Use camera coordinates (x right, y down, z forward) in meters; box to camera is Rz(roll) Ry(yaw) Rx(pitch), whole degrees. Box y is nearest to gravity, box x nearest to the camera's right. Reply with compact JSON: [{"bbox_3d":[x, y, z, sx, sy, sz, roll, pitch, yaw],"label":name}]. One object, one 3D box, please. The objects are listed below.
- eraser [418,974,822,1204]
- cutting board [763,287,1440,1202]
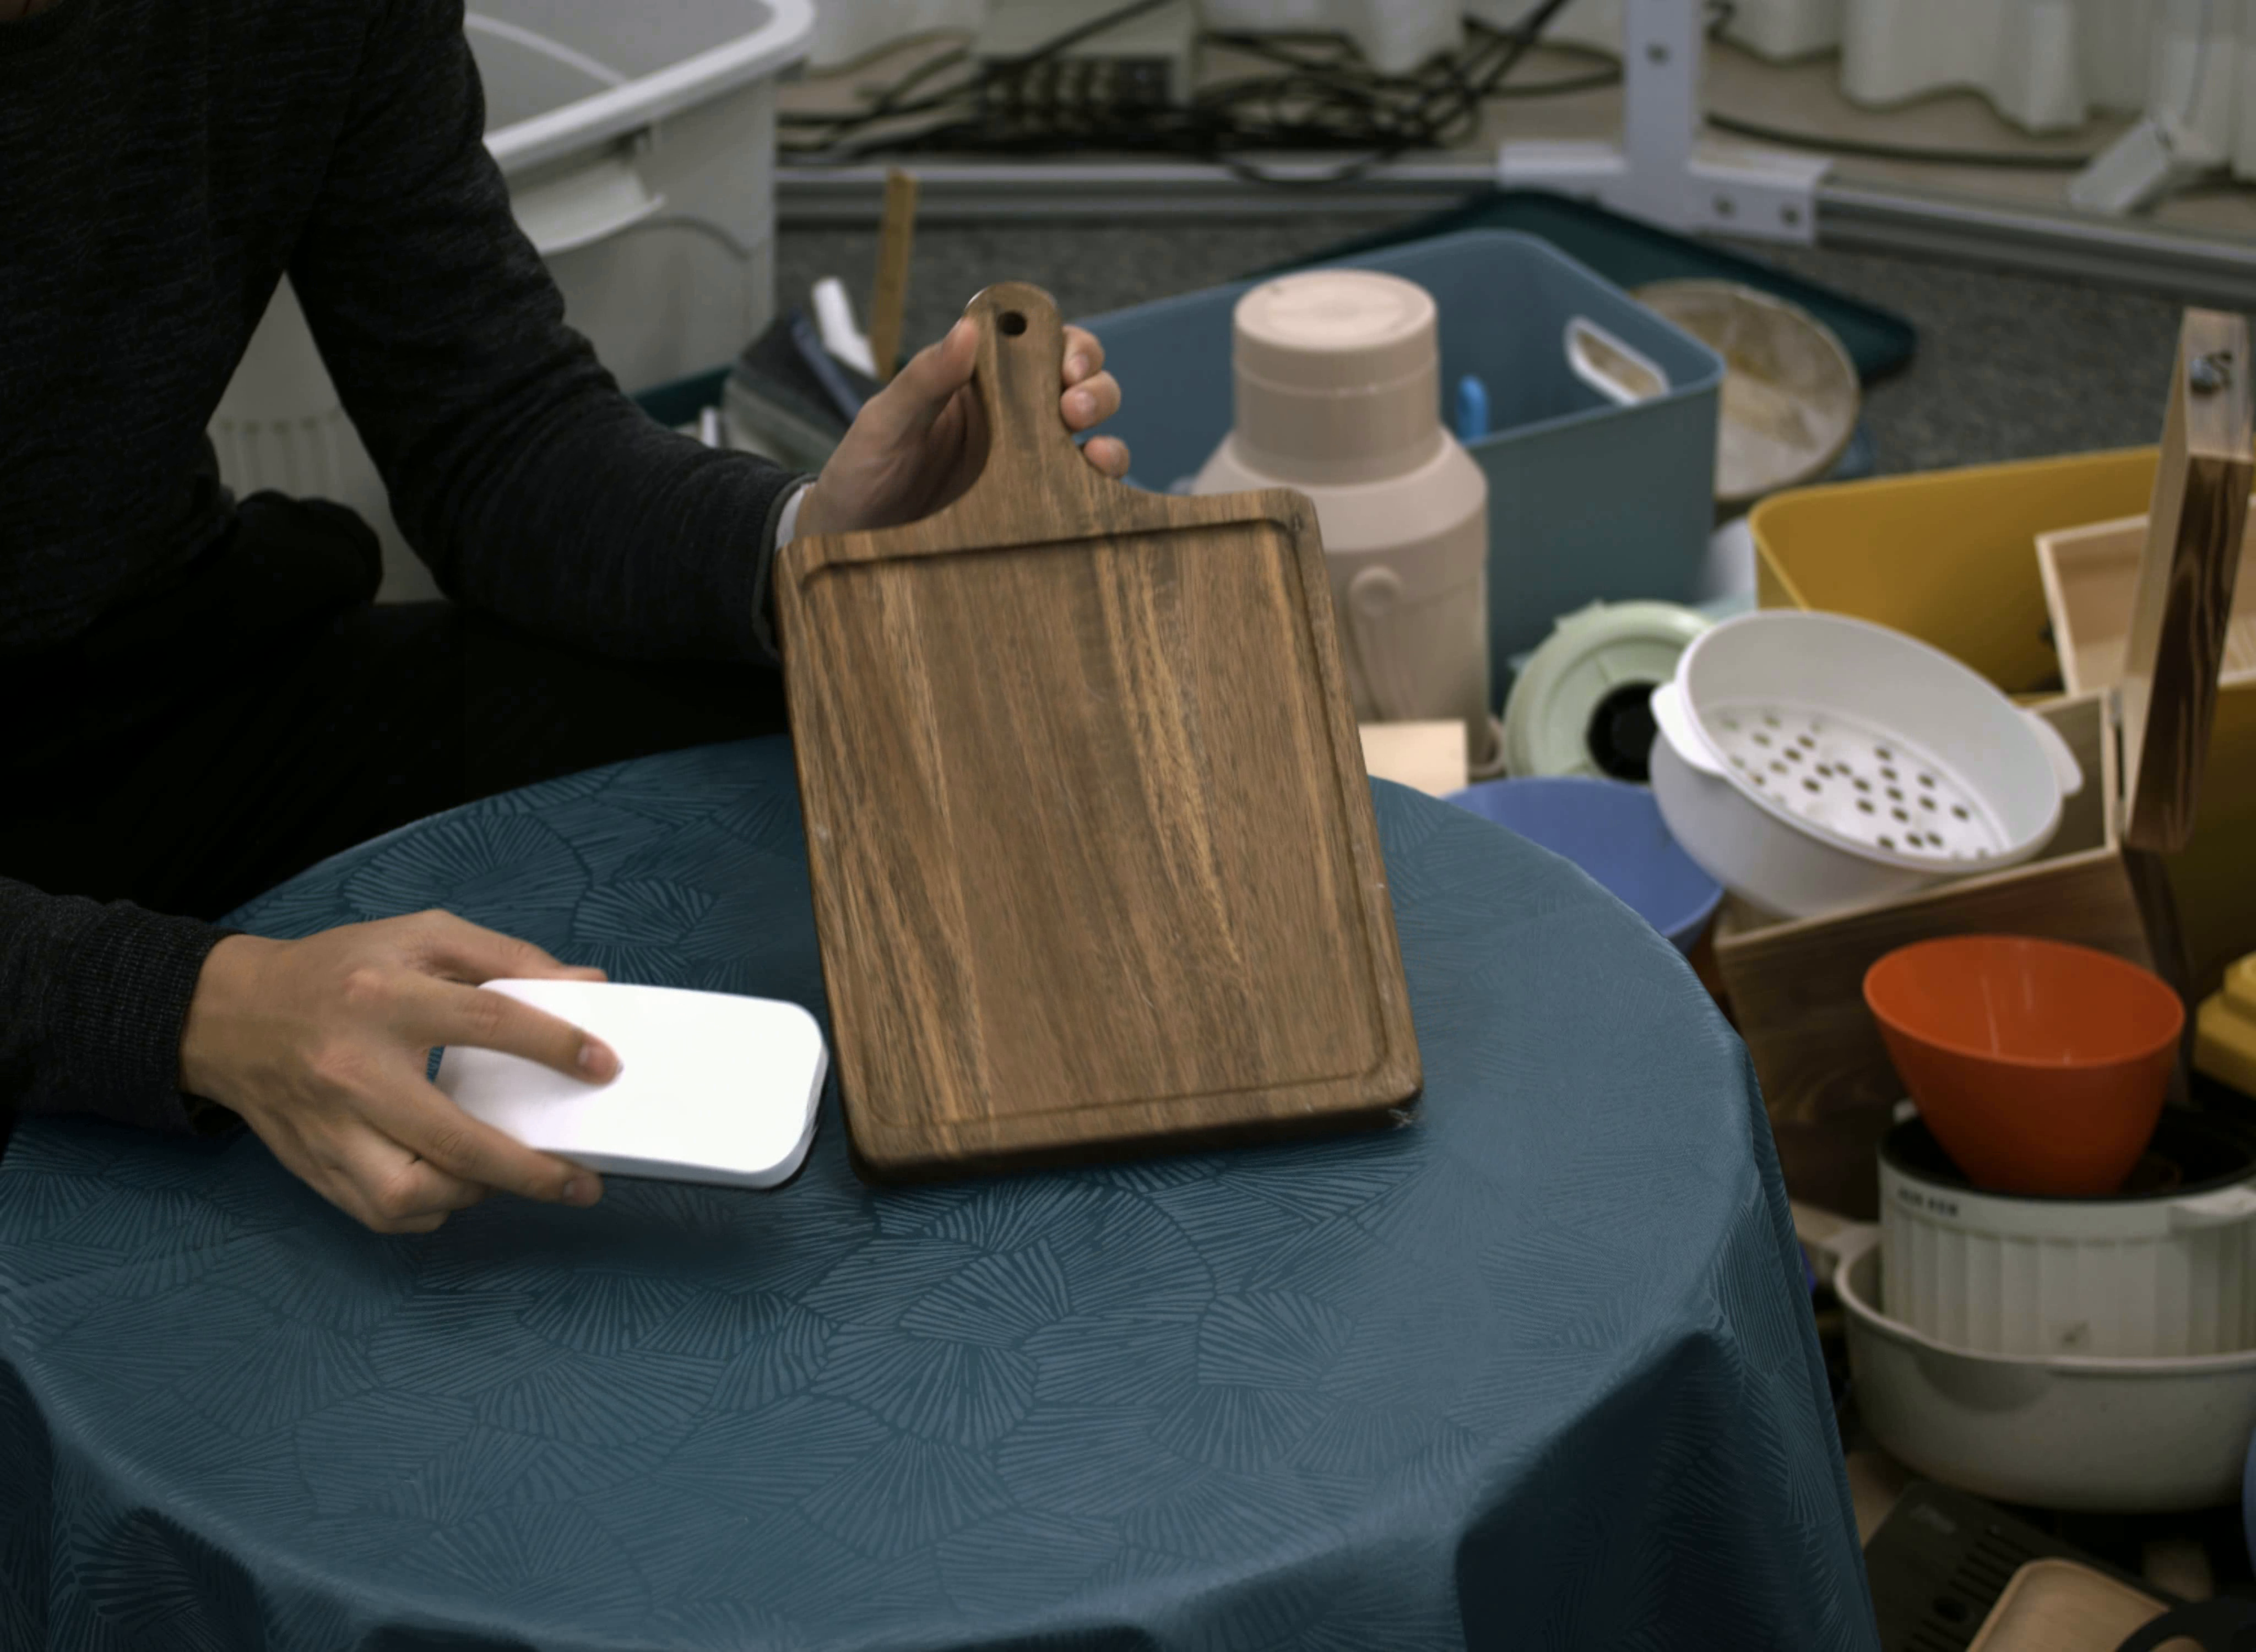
[{"bbox_3d":[-0.165,0.086,1.833,0.130,0.034,0.064,6,62,17],"label":"eraser"},{"bbox_3d":[-0.020,-0.040,1.959,0.200,0.023,0.358,-7,59,-7],"label":"cutting board"}]
